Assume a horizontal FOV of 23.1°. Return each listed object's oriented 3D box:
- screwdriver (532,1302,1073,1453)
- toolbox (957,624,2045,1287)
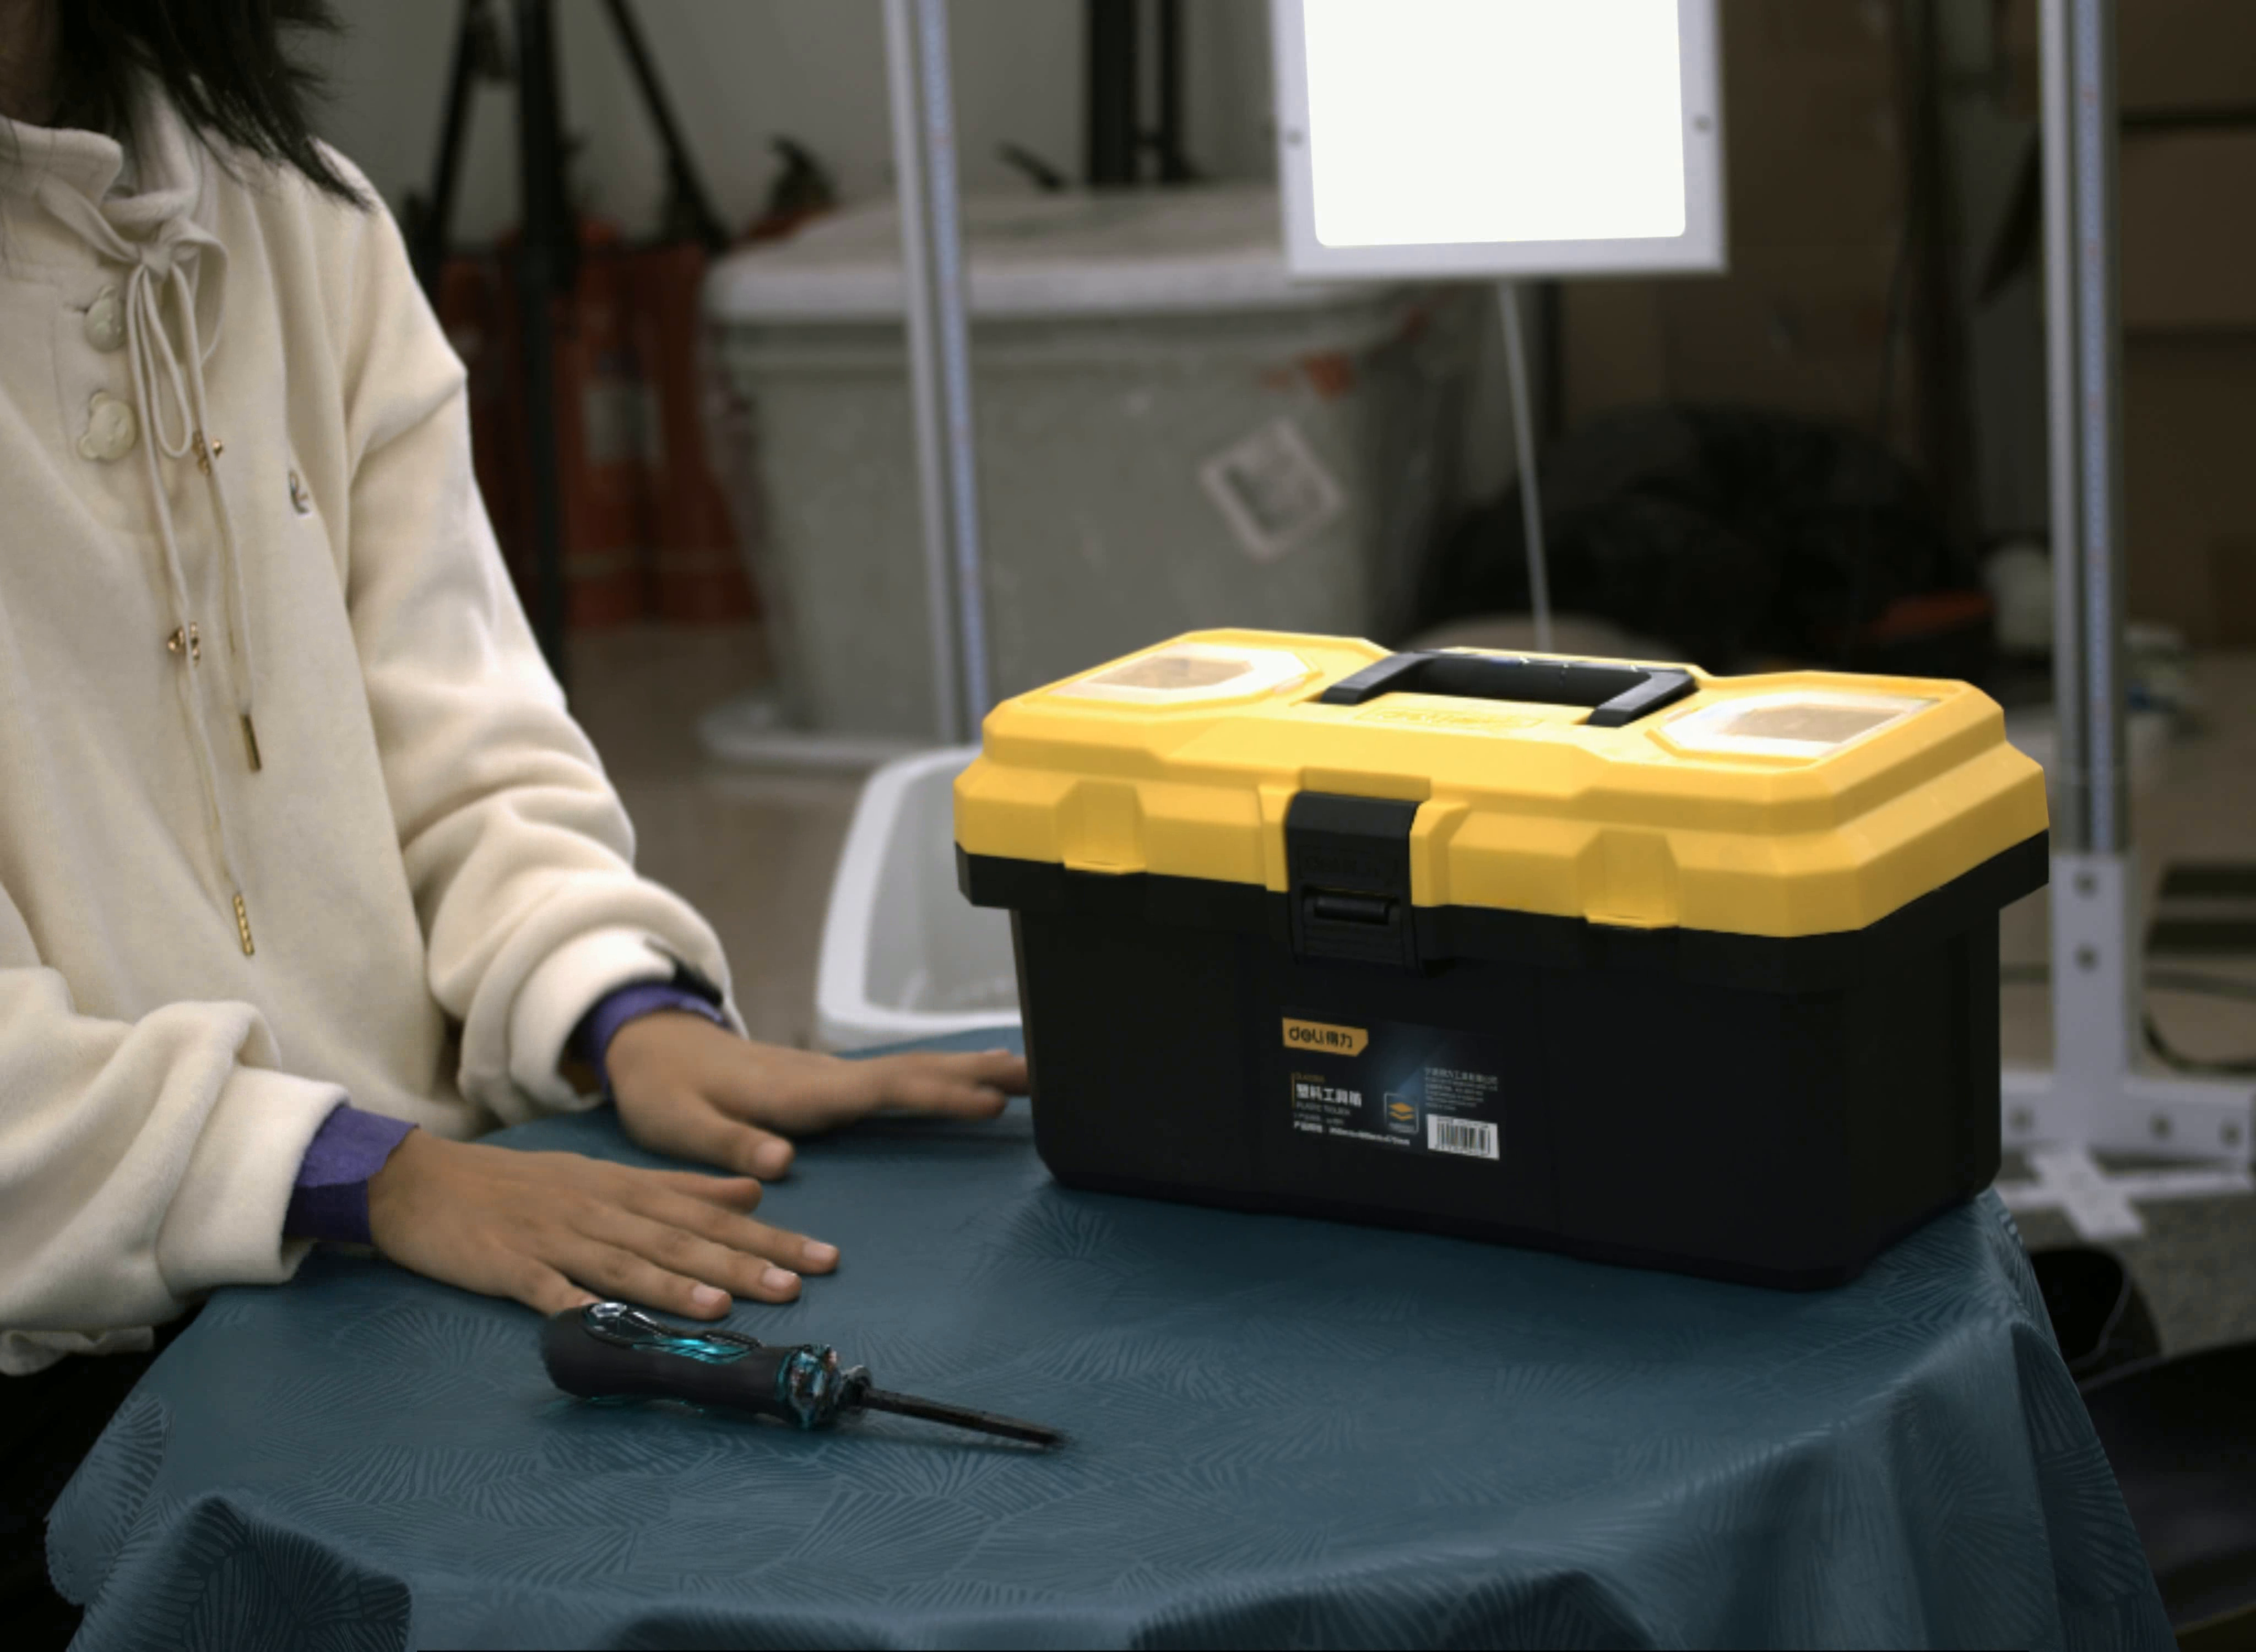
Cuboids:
[{"bbox_3d":[-0.100,0.175,1.696,0.193,0.034,0.033,8,18,29],"label":"screwdriver"},{"bbox_3d":[0.123,0.038,1.847,0.359,0.173,0.177,6,17,37],"label":"toolbox"}]
